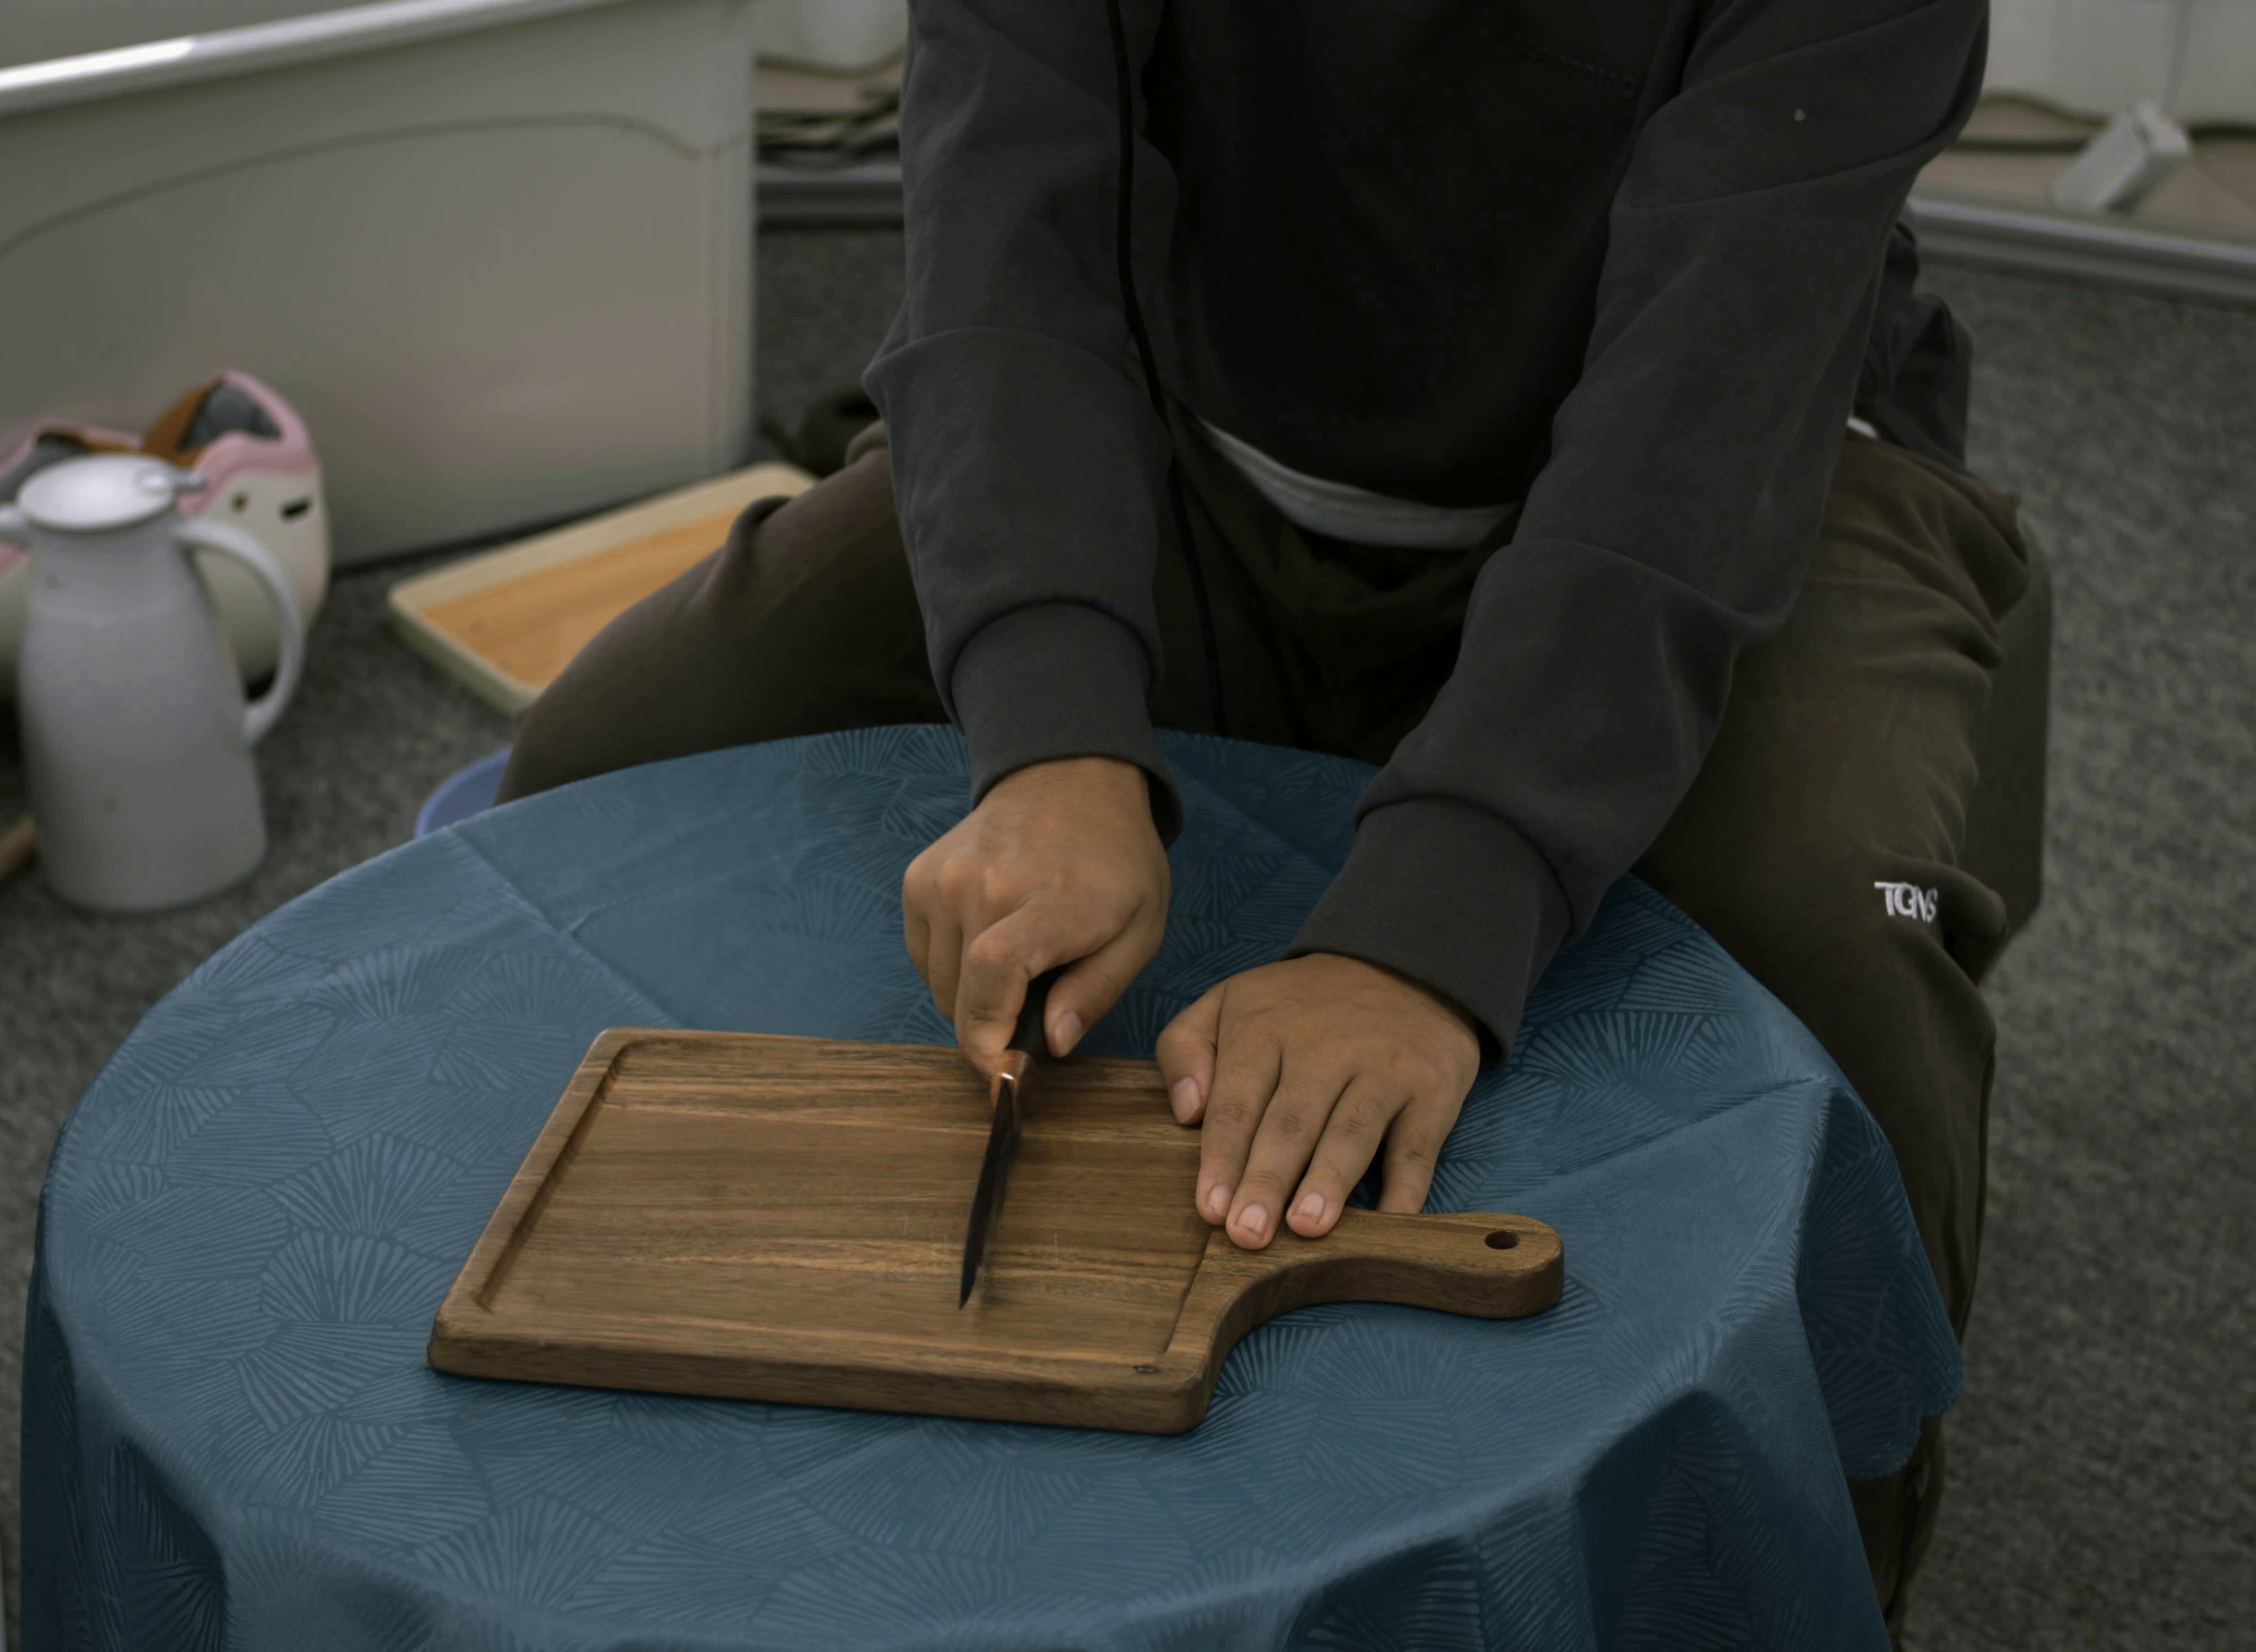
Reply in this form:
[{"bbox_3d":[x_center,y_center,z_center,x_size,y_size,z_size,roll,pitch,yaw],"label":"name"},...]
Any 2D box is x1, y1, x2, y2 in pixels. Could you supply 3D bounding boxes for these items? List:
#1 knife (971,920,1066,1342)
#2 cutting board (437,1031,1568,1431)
[{"bbox_3d":[-0.038,0.098,1.854,0.017,0.026,0.229,-6,30,10],"label":"knife"},{"bbox_3d":[-0.032,0.131,1.826,0.350,0.023,0.204,3,28,11],"label":"cutting board"}]
